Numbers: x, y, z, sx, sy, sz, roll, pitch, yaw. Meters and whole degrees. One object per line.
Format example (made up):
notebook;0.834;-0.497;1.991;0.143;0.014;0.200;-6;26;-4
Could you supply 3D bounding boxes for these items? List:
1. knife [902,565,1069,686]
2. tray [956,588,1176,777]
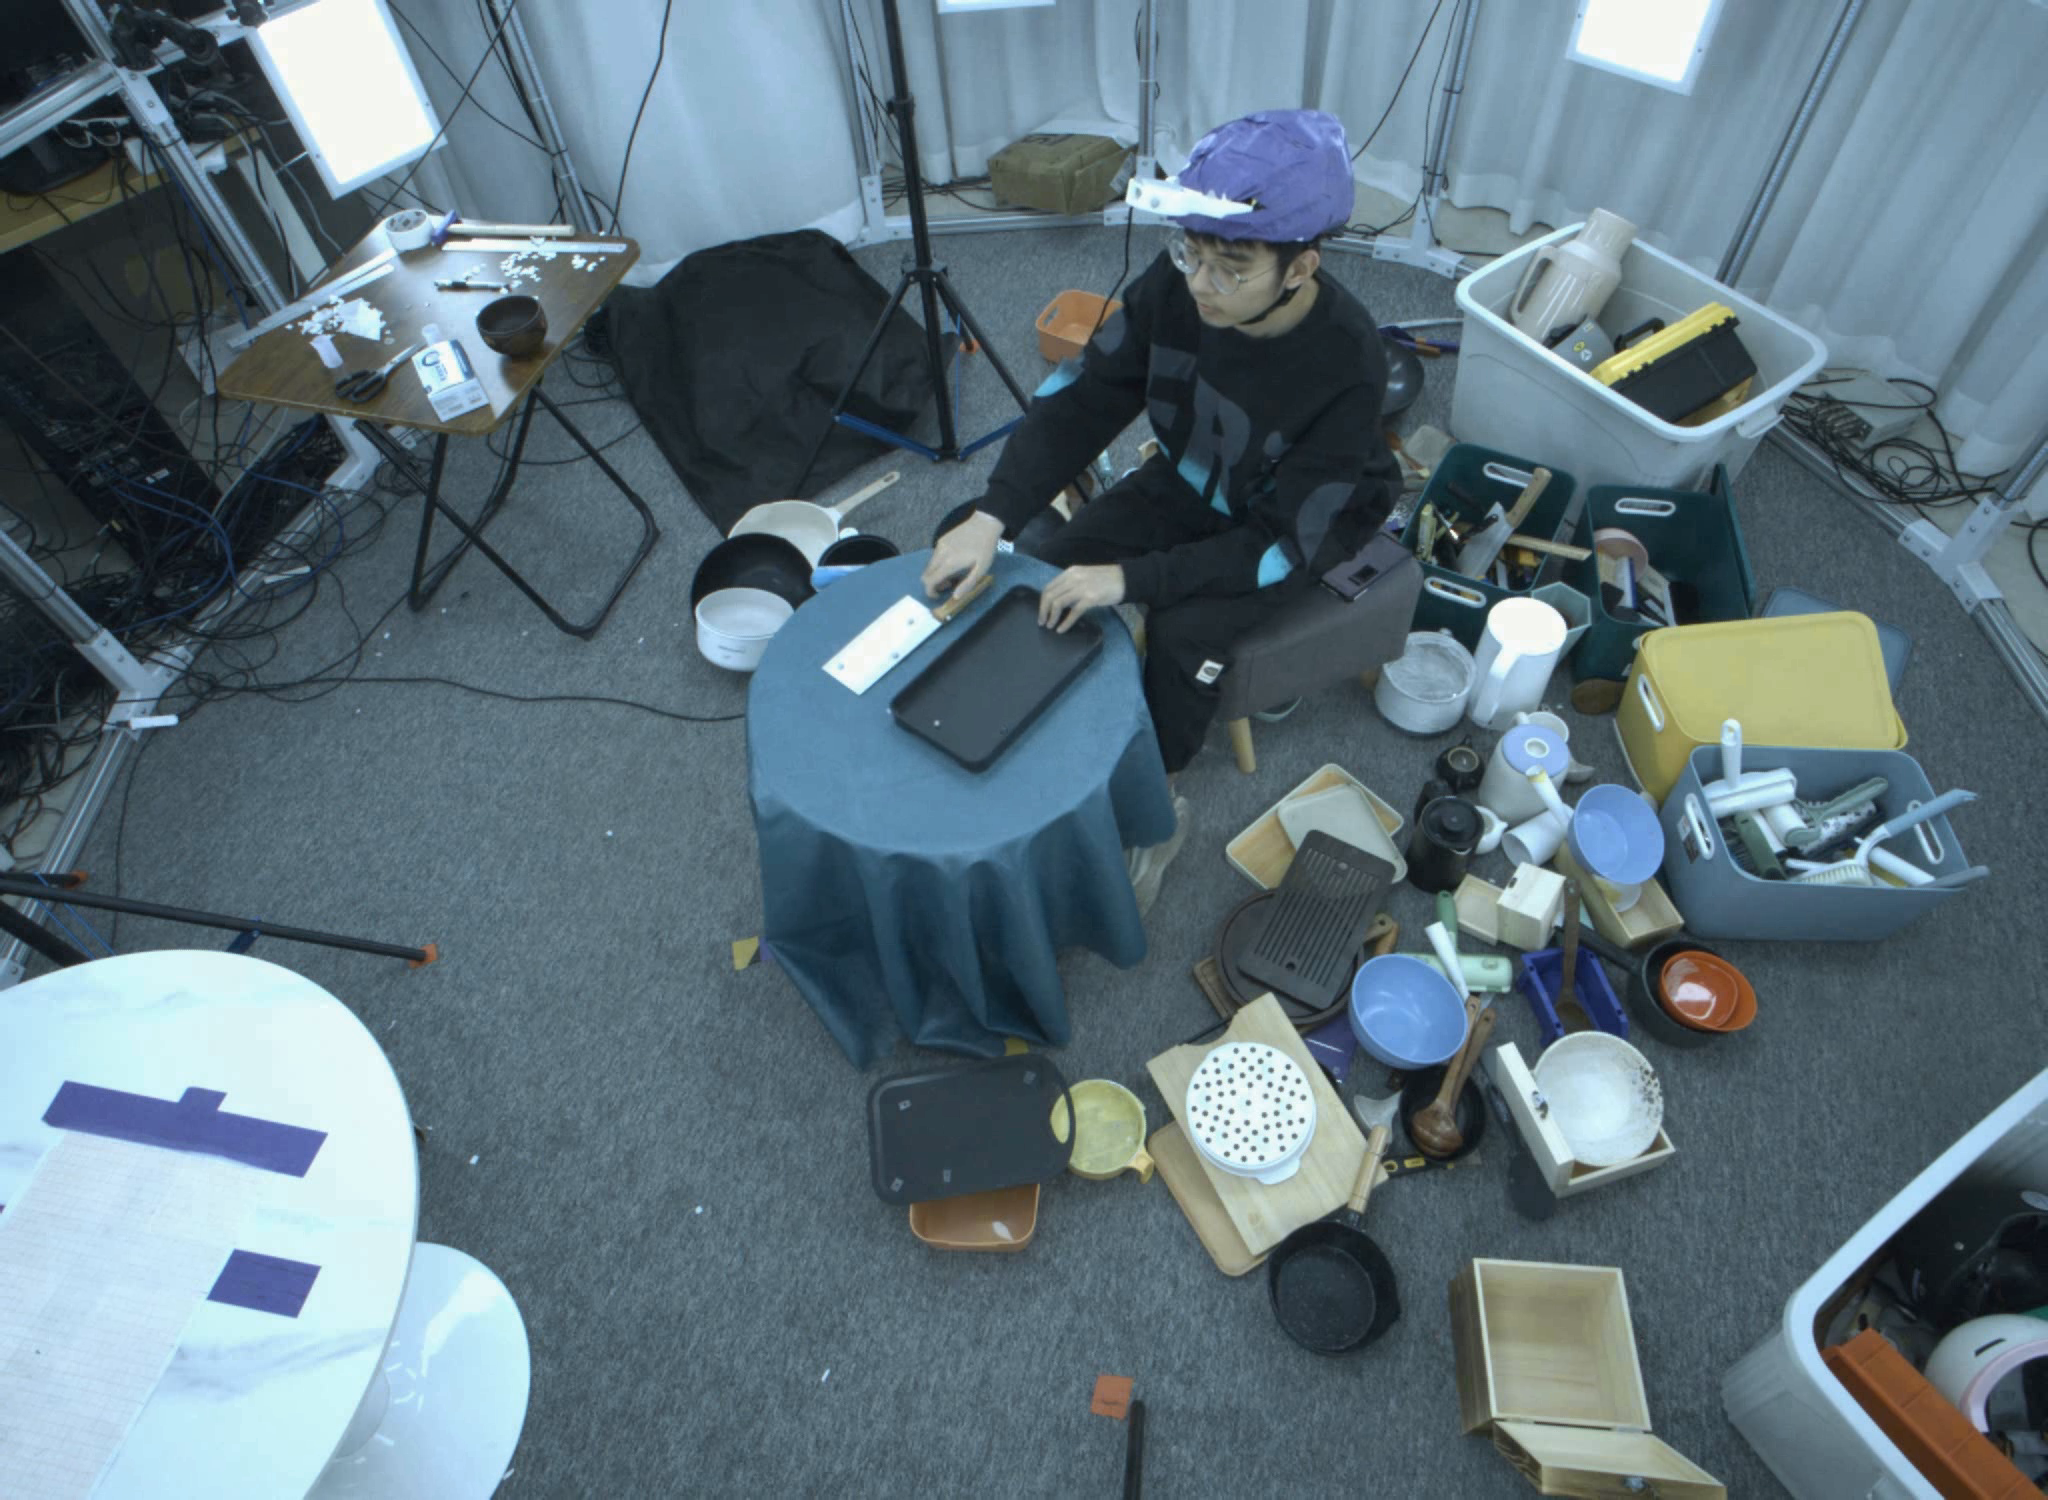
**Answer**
knife;-0.063;-0.209;1.928;0.307;0.021;0.091;-40;61;-20
tray;0.065;-0.107;1.838;0.181;0.037;0.320;35;63;24
